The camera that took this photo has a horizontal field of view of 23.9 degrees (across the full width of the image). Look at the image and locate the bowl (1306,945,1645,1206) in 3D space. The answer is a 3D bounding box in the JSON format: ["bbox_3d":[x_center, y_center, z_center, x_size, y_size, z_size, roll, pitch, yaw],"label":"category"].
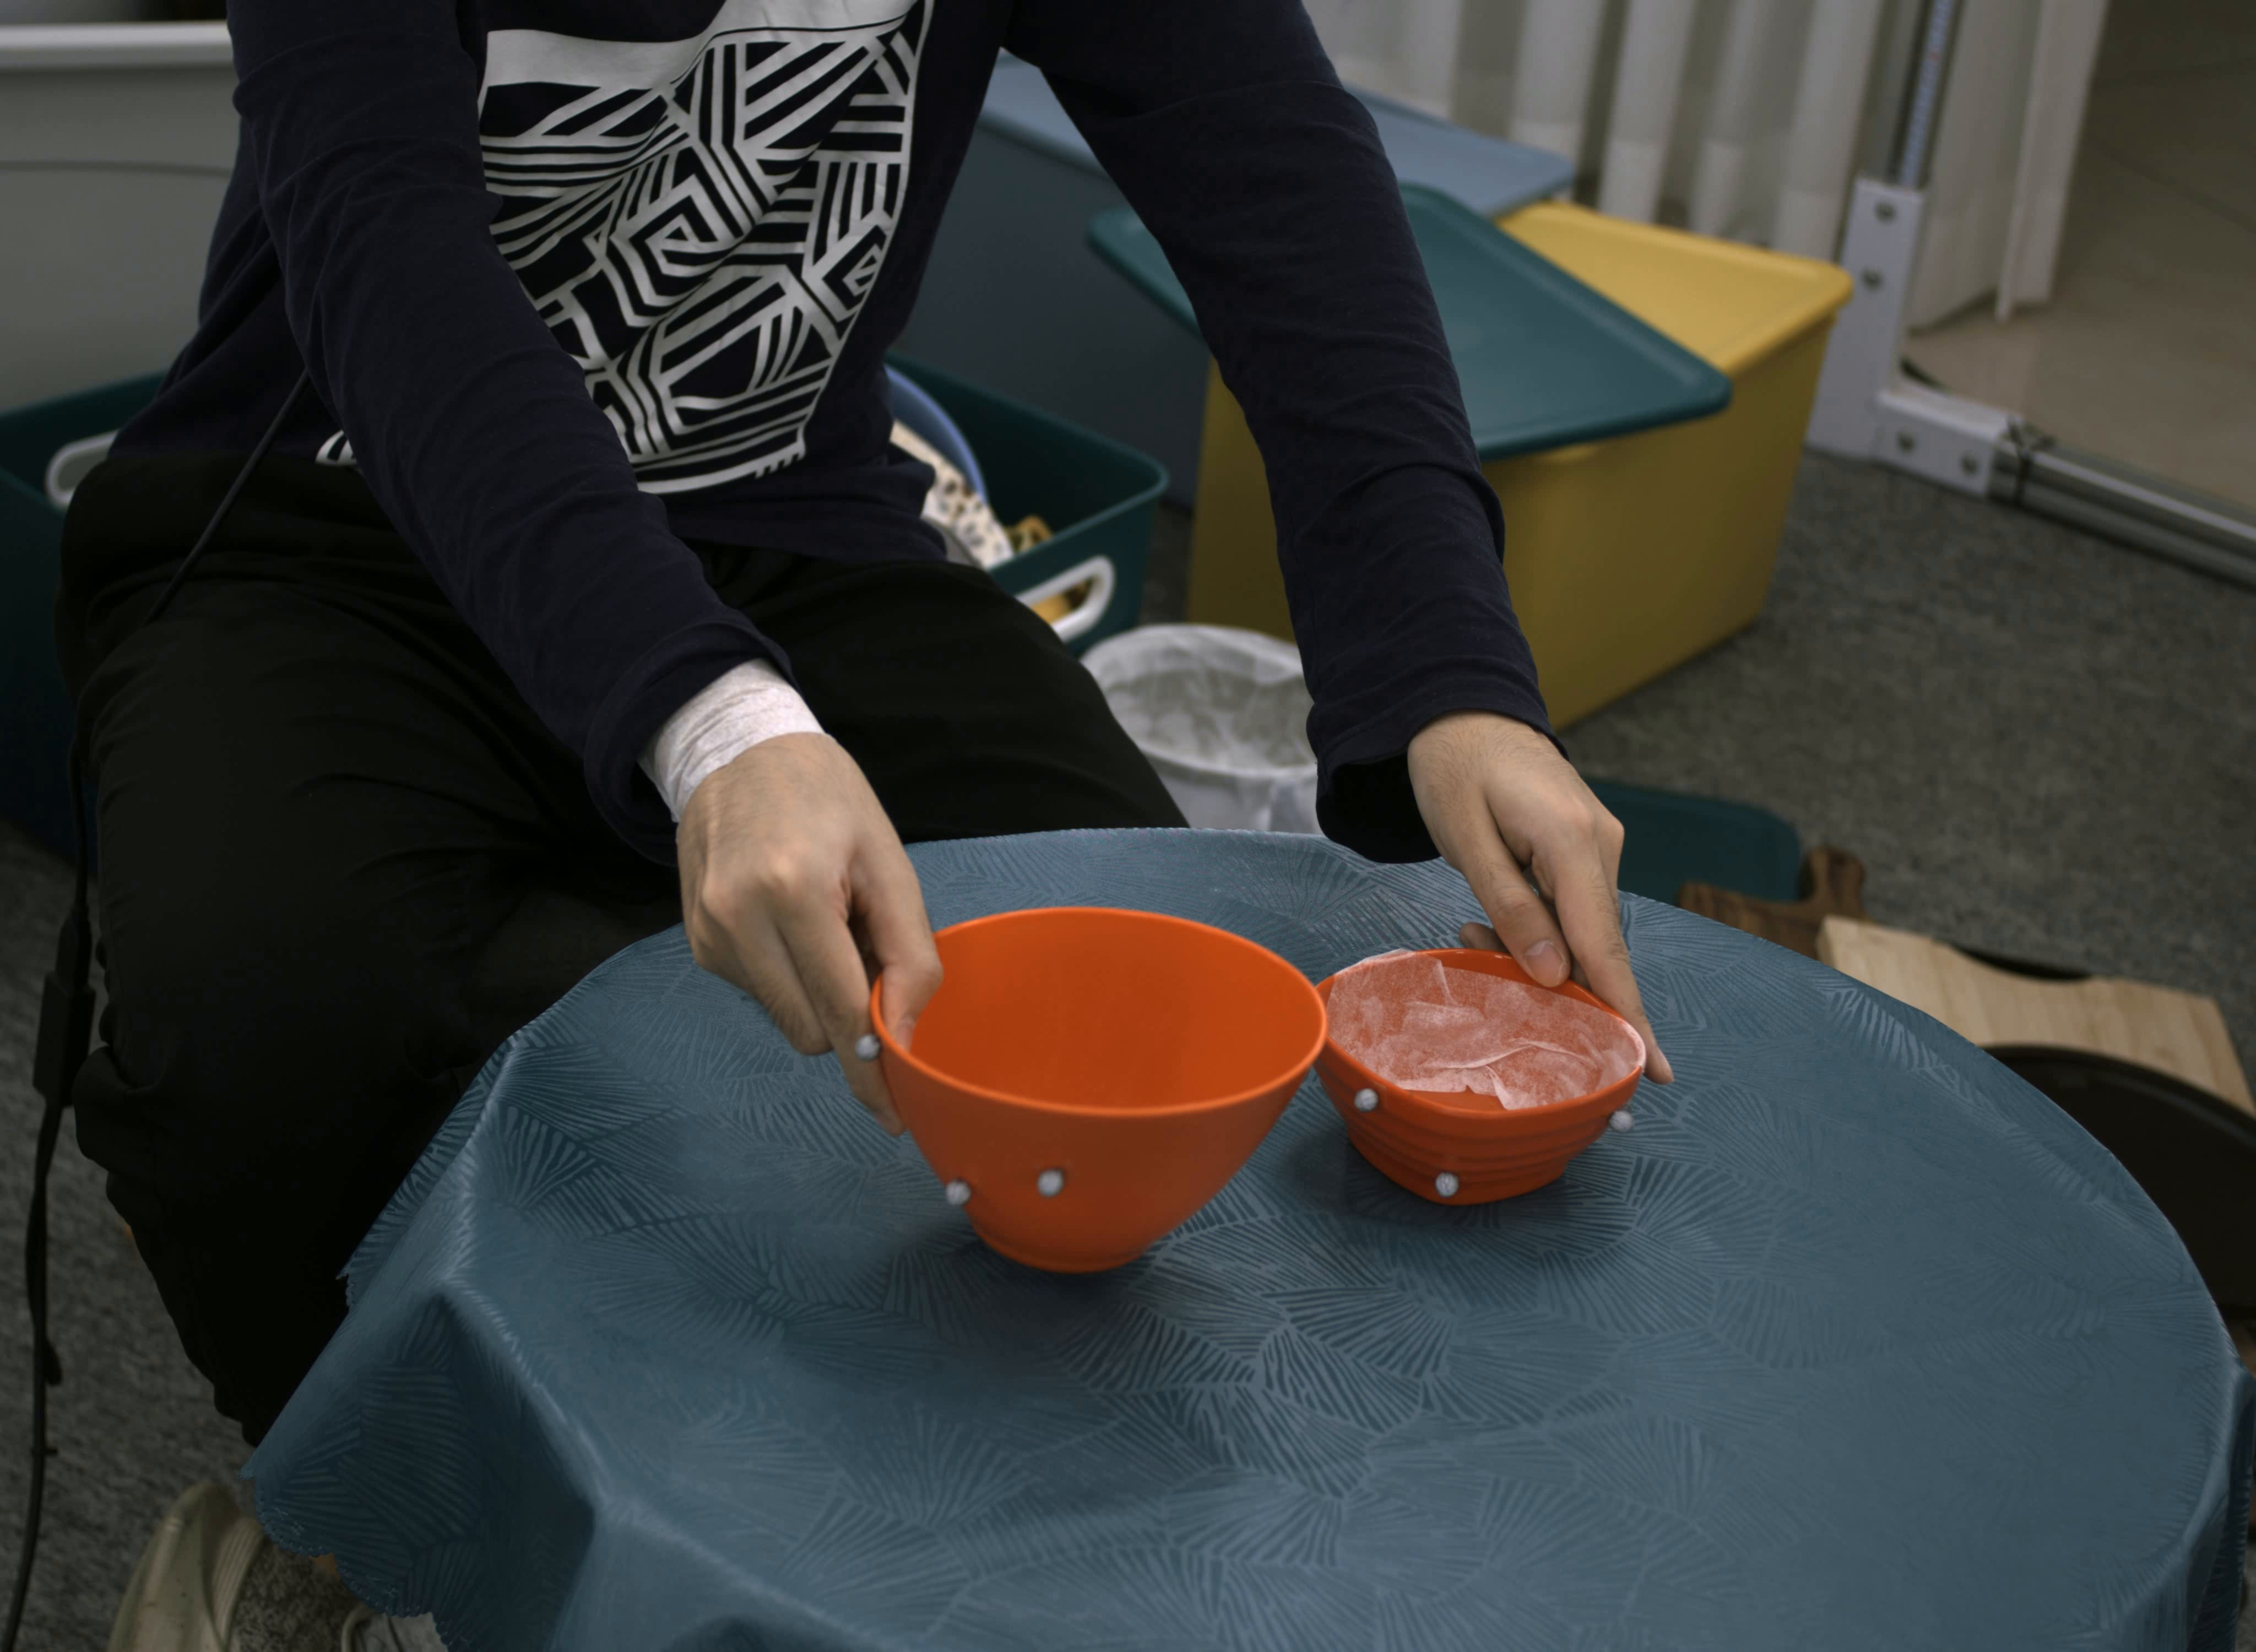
[{"bbox_3d":[0.117,0.091,1.842,0.118,0.051,0.119,4,28,-2],"label":"bowl"}]

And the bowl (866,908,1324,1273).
[{"bbox_3d":[-0.014,0.092,1.729,0.147,0.104,0.149,3,32,-2],"label":"bowl"}]
